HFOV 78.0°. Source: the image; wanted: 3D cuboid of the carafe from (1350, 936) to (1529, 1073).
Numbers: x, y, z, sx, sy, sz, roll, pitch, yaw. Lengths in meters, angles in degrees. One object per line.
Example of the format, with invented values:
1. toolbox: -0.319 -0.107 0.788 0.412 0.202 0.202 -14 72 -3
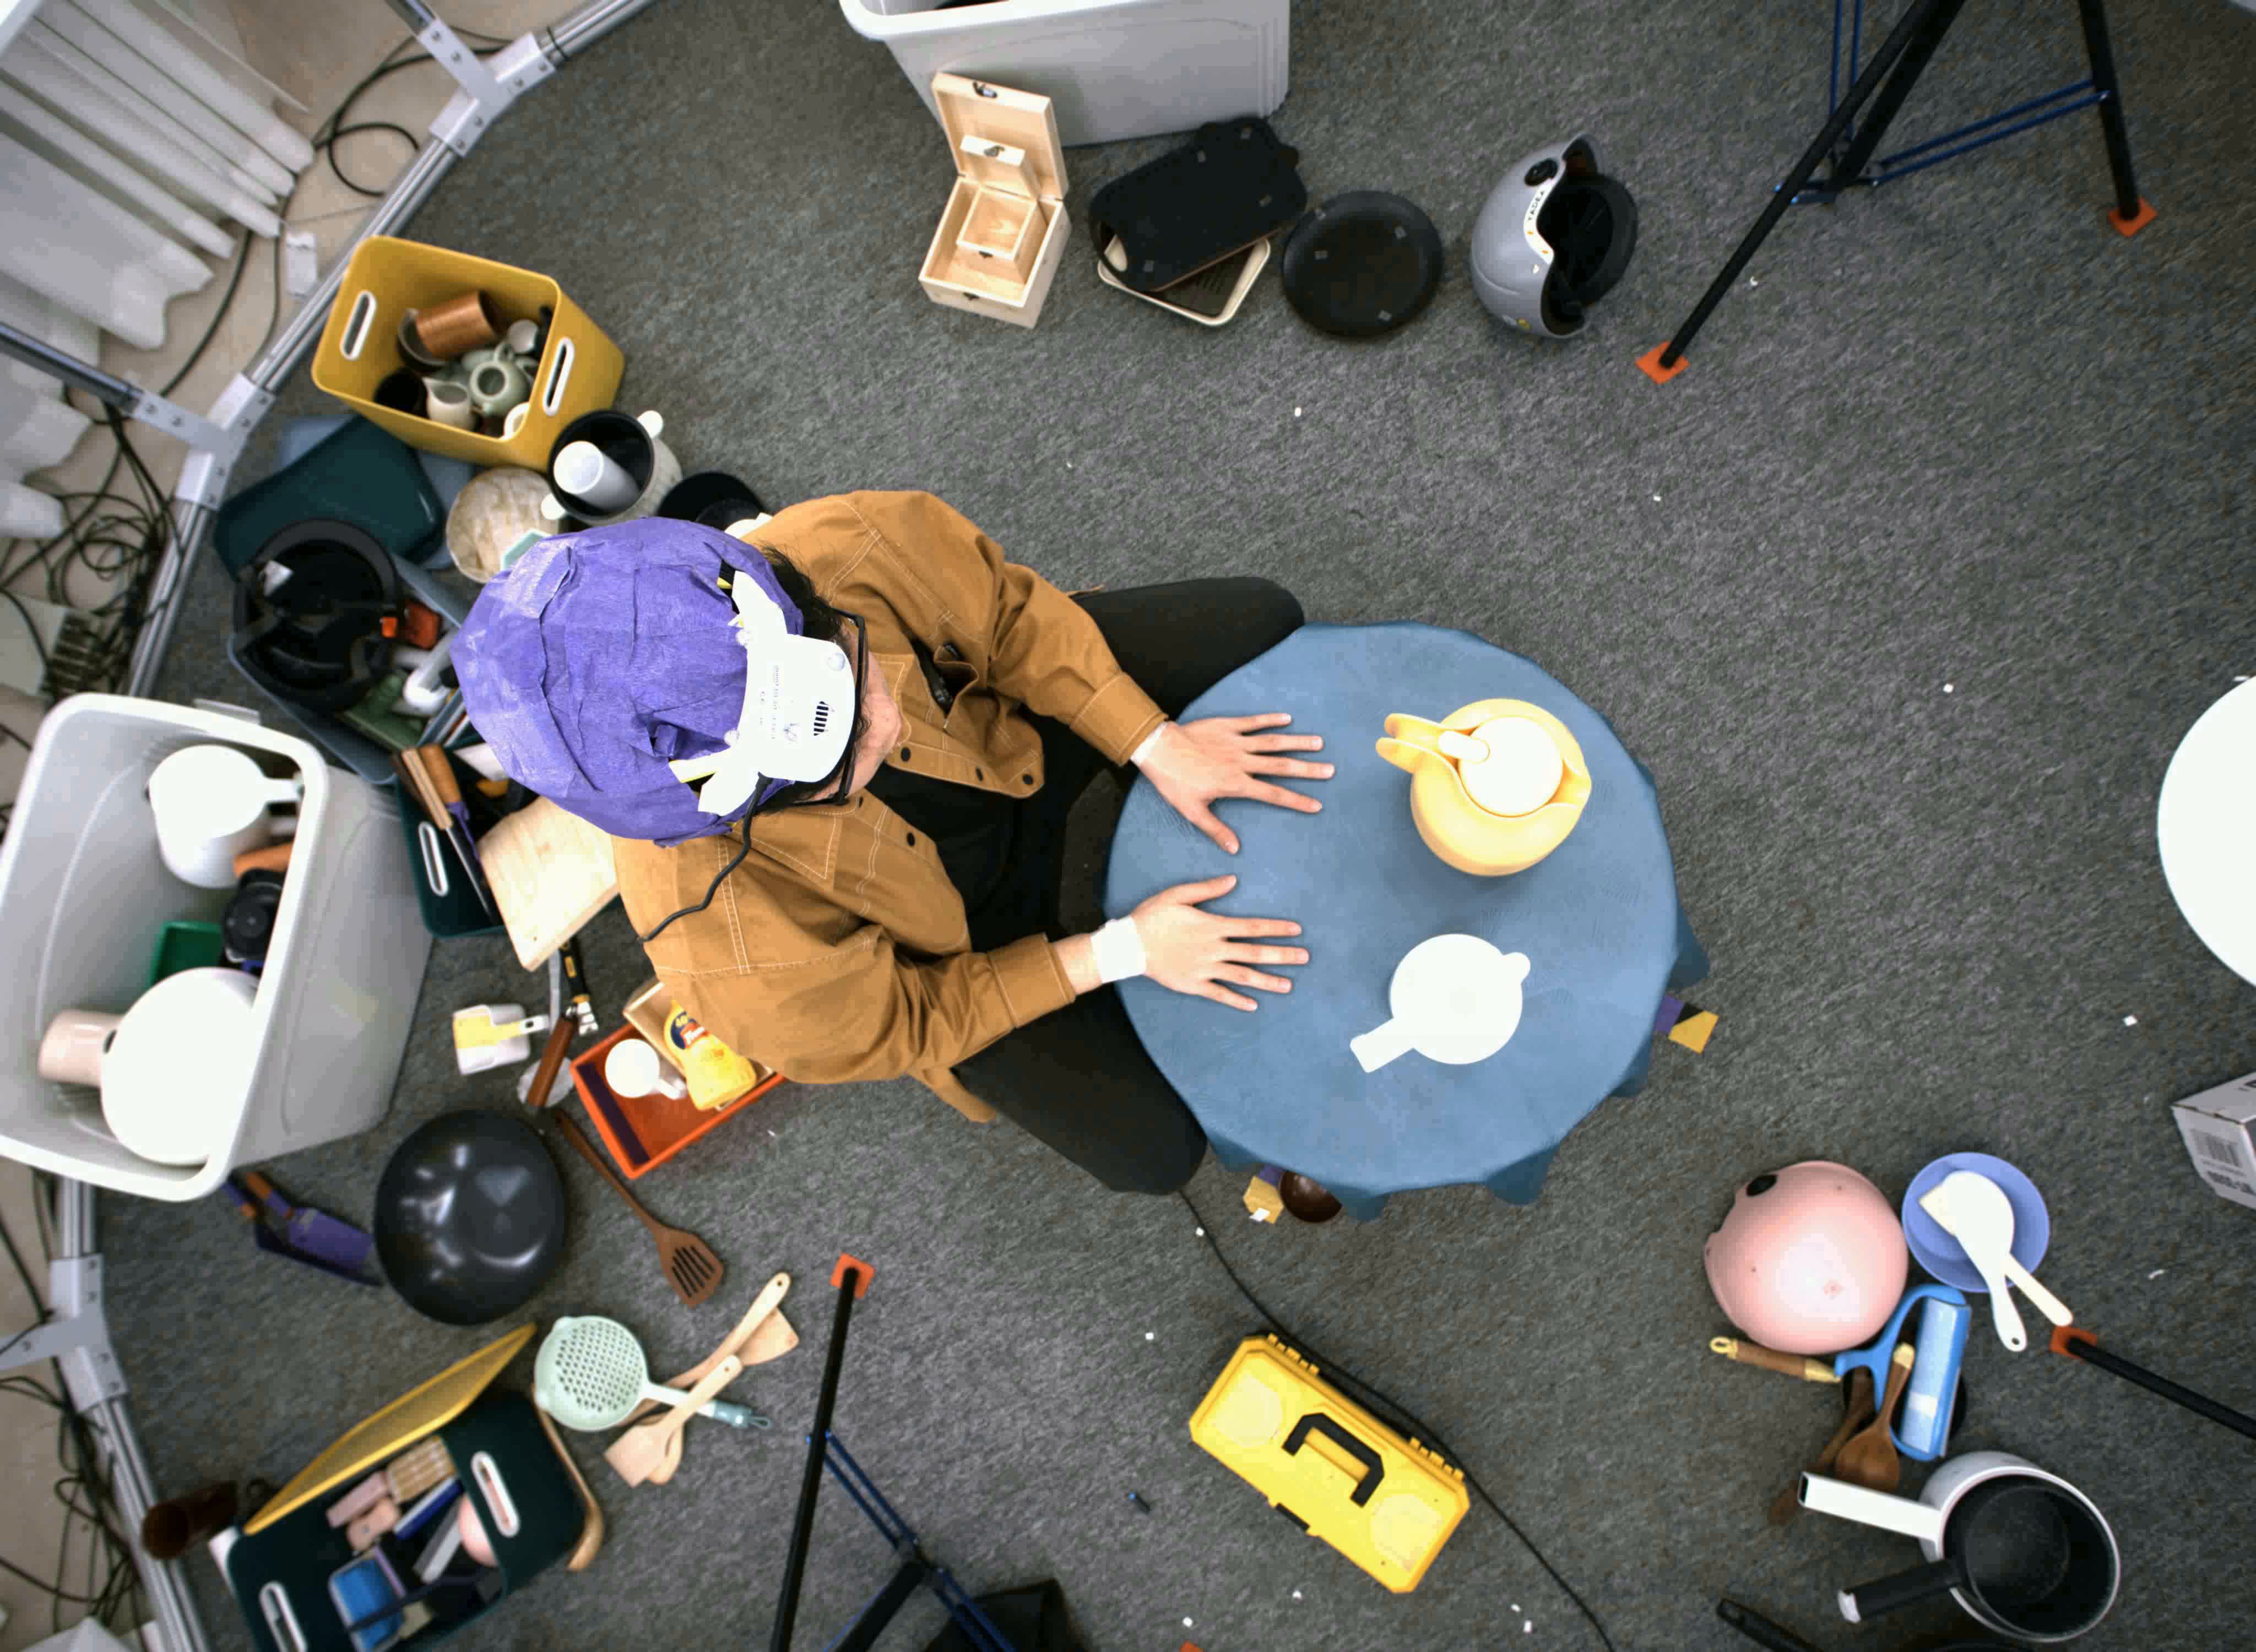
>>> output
1. carafe: 0.294 0.173 1.316 0.174 0.269 0.123 -33 82 6

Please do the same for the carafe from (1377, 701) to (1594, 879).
1. carafe: 0.338 -0.049 1.320 0.202 0.261 0.163 24 87 10
